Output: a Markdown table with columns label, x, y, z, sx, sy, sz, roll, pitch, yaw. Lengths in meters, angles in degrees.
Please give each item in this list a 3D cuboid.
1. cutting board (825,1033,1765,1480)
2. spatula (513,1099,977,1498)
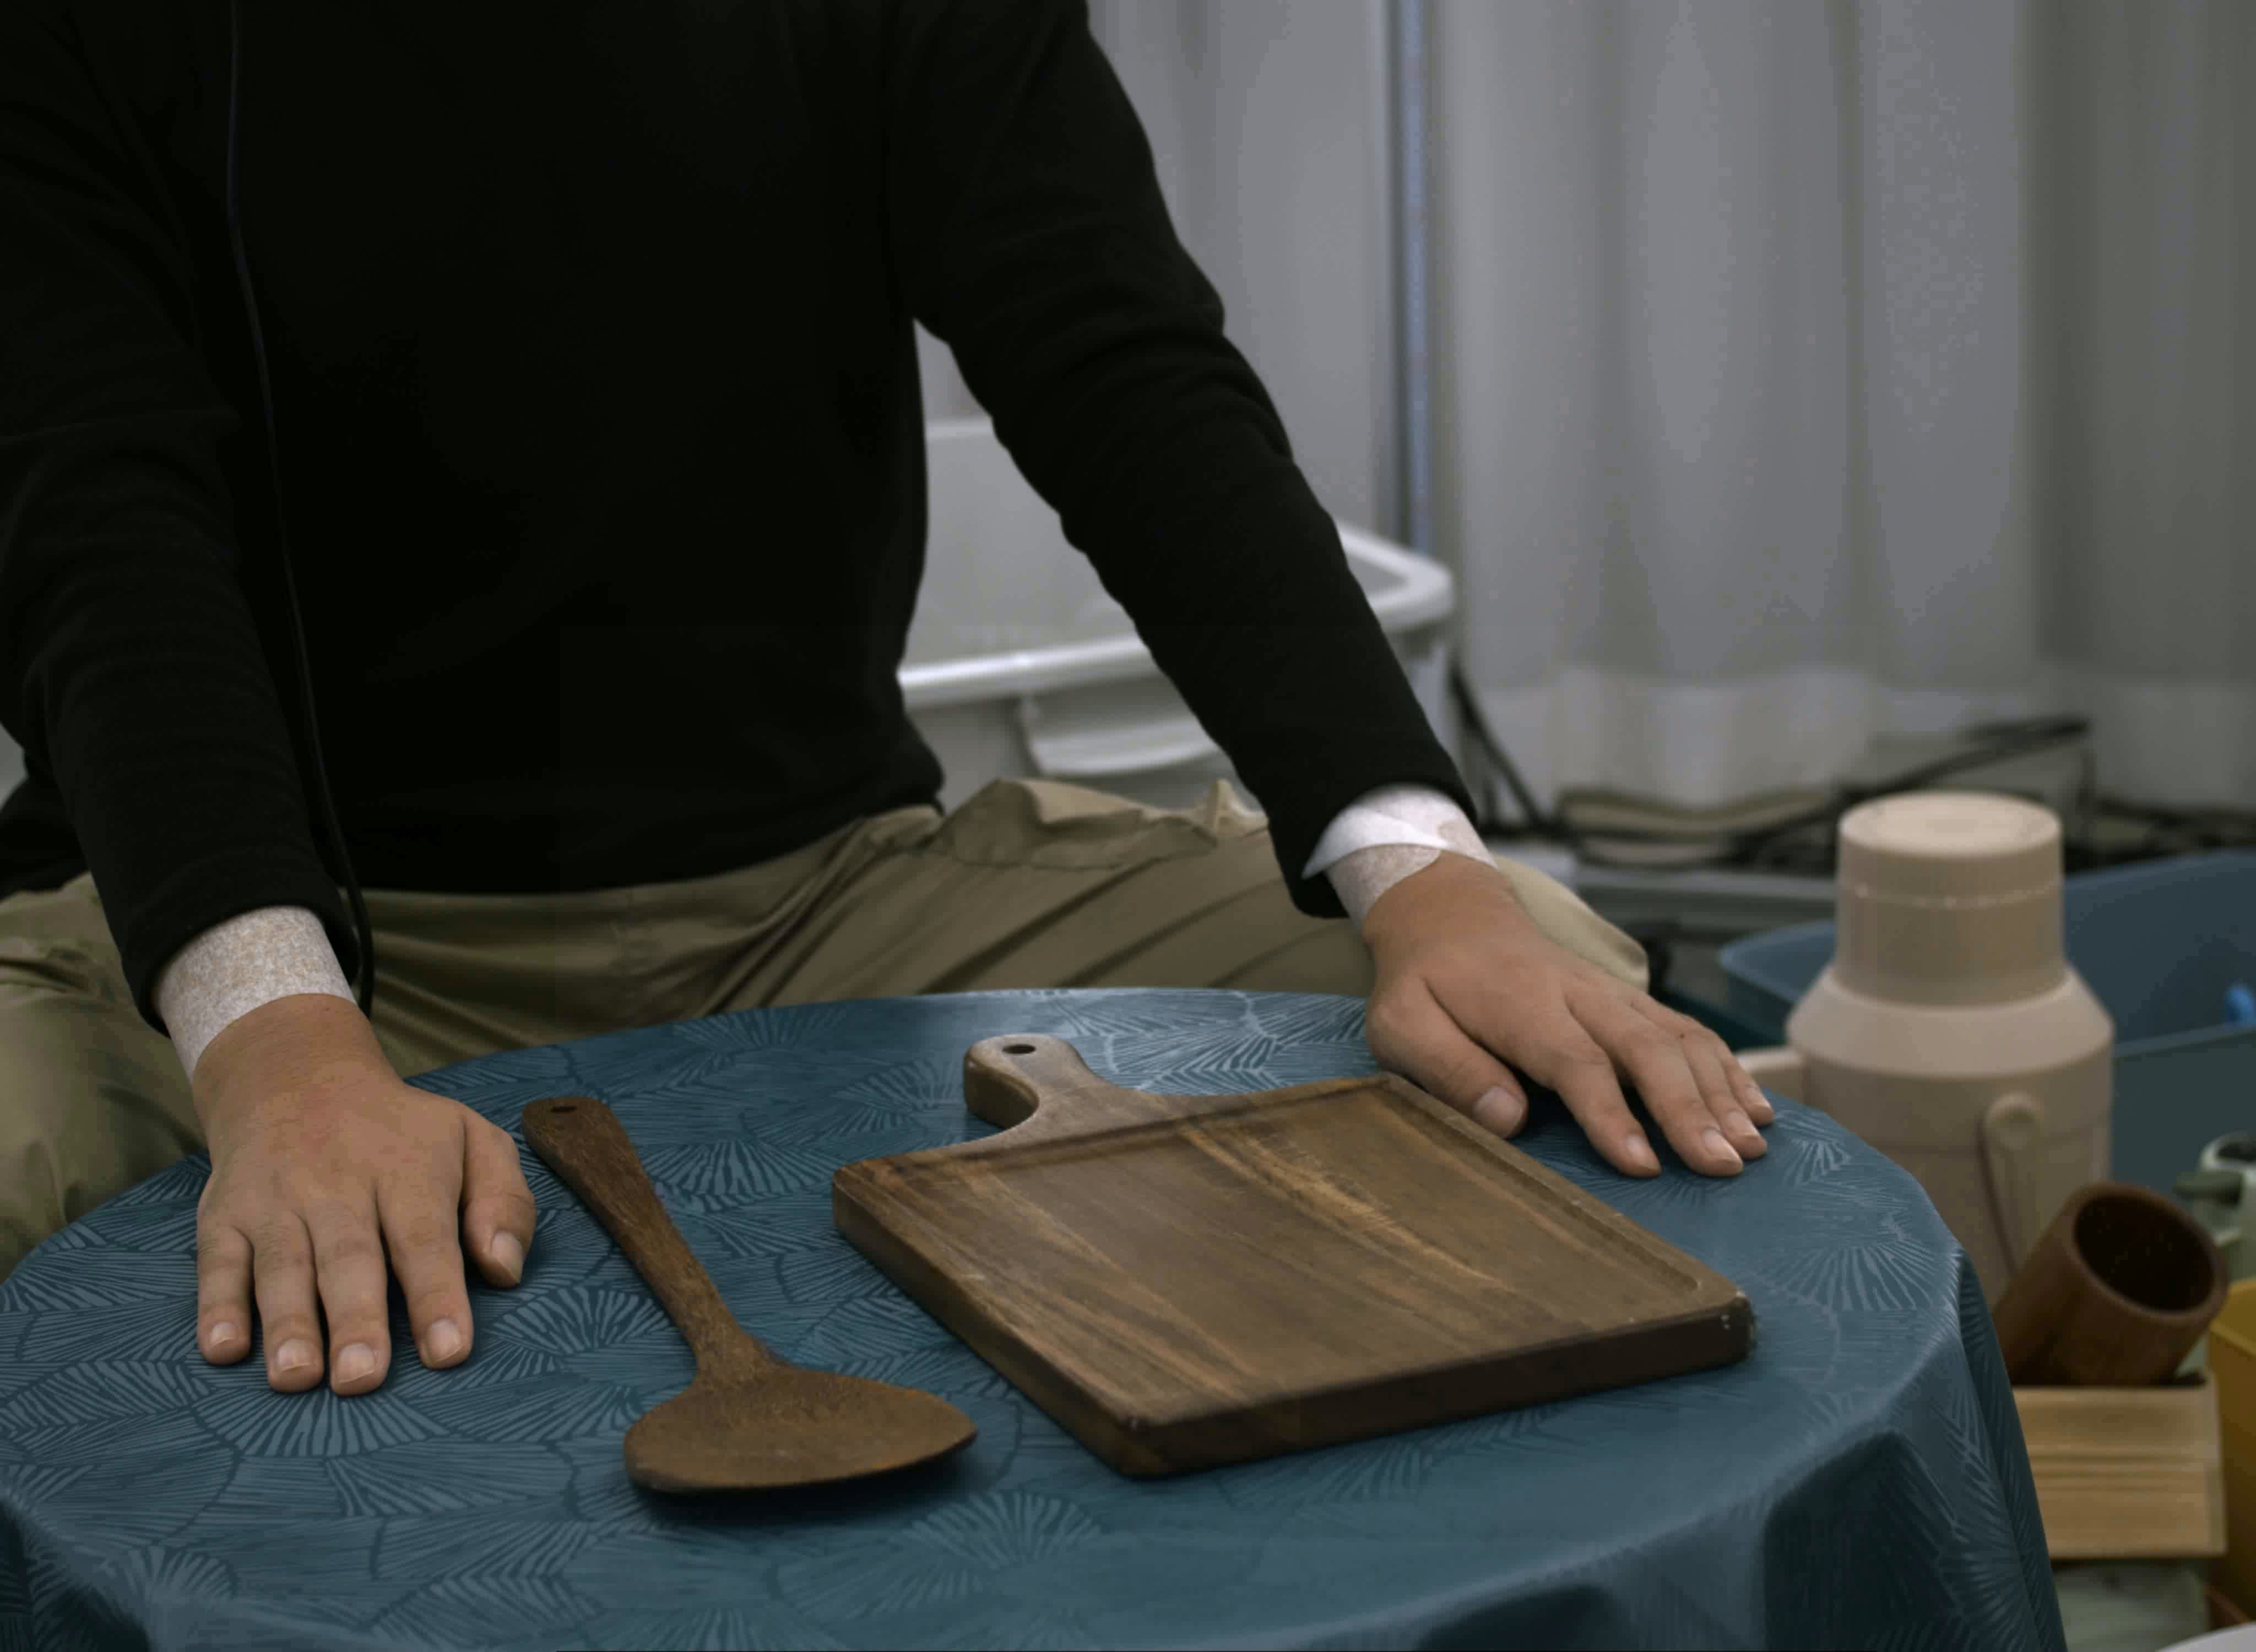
| label | x | y | z | sx | sy | sz | roll | pitch | yaw |
| --- | --- | --- | --- | --- | --- | --- | --- | --- | --- |
| cutting board | 0.024 | 0.117 | 1.661 | 0.200 | 0.023 | 0.355 | -9 | 16 | -21 |
| spatula | -0.136 | 0.135 | 1.637 | 0.095 | 0.016 | 0.389 | -7 | 15 | -16 |
